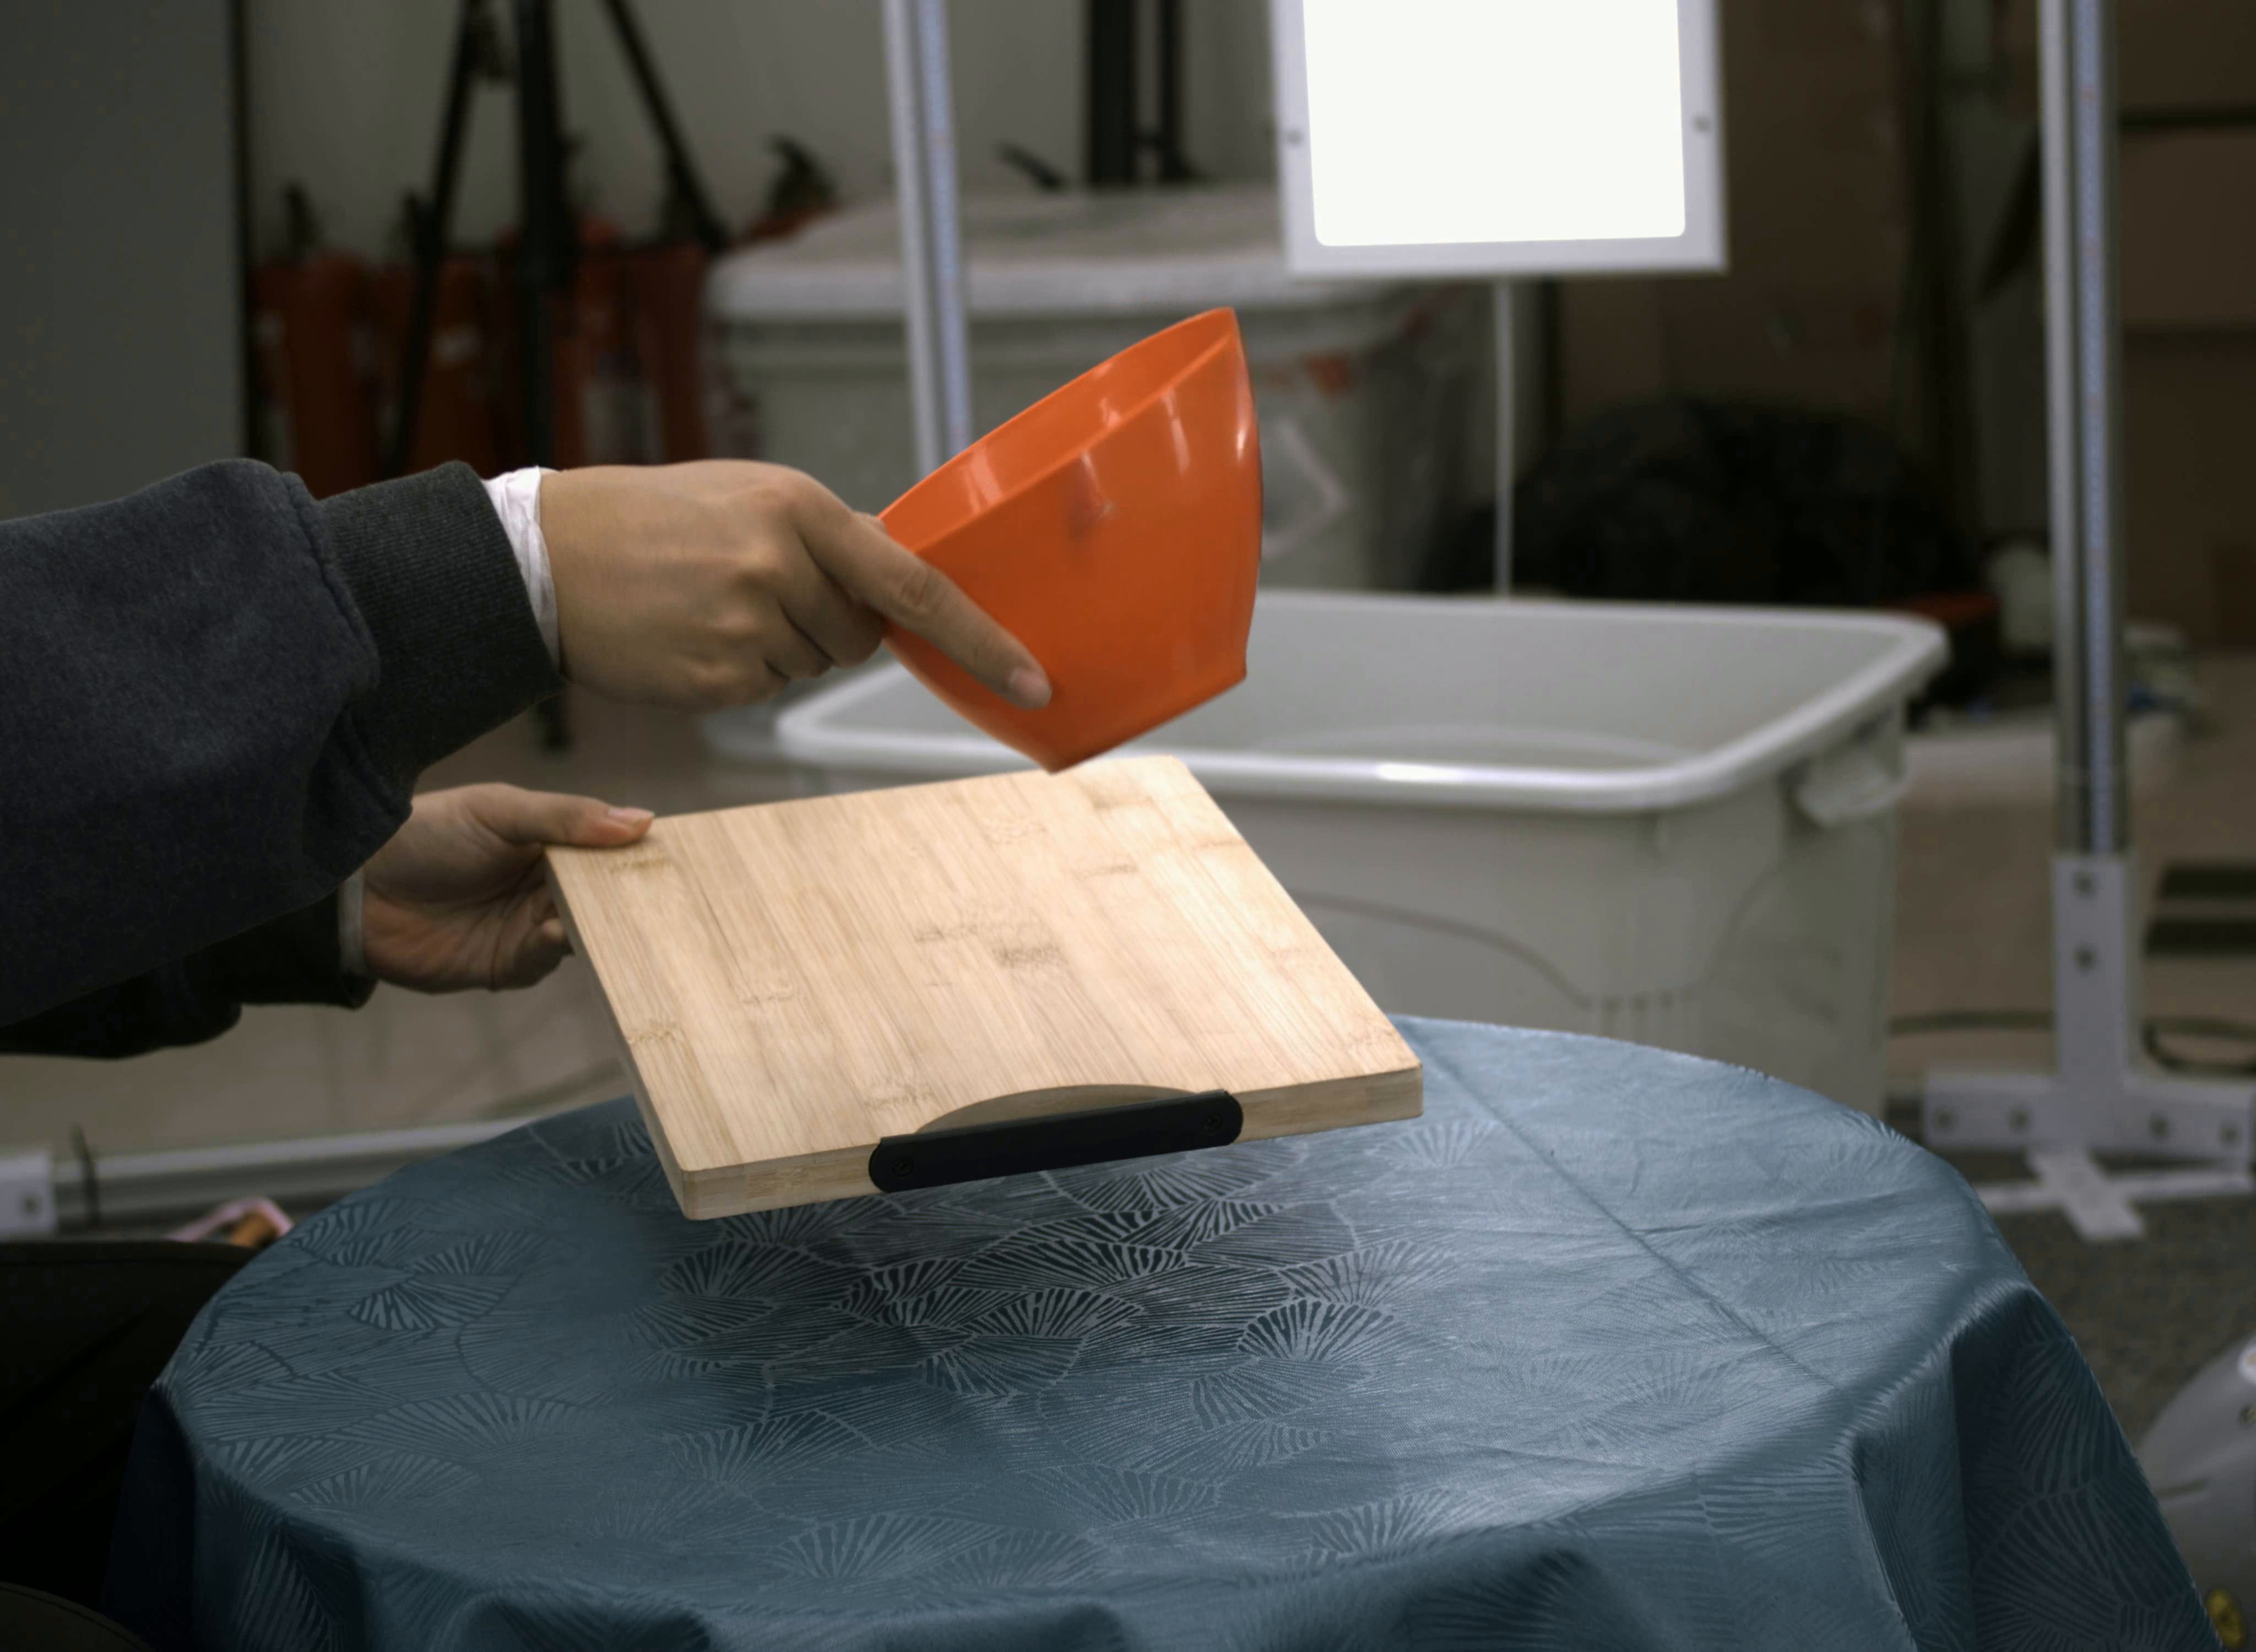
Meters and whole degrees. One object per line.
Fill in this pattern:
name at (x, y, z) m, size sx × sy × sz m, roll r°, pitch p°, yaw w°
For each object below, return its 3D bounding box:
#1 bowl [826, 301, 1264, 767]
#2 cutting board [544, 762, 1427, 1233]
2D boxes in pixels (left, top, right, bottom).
bowl at (-0.010, -0.082, 1.651) m, size 0.148 × 0.105 × 0.148 m, roll -26°, pitch 3°, yaw 0°
cutting board at (-0.059, 0.051, 1.871) m, size 0.248 × 0.023 × 0.351 m, roll -9°, pitch 19°, yaw -10°
